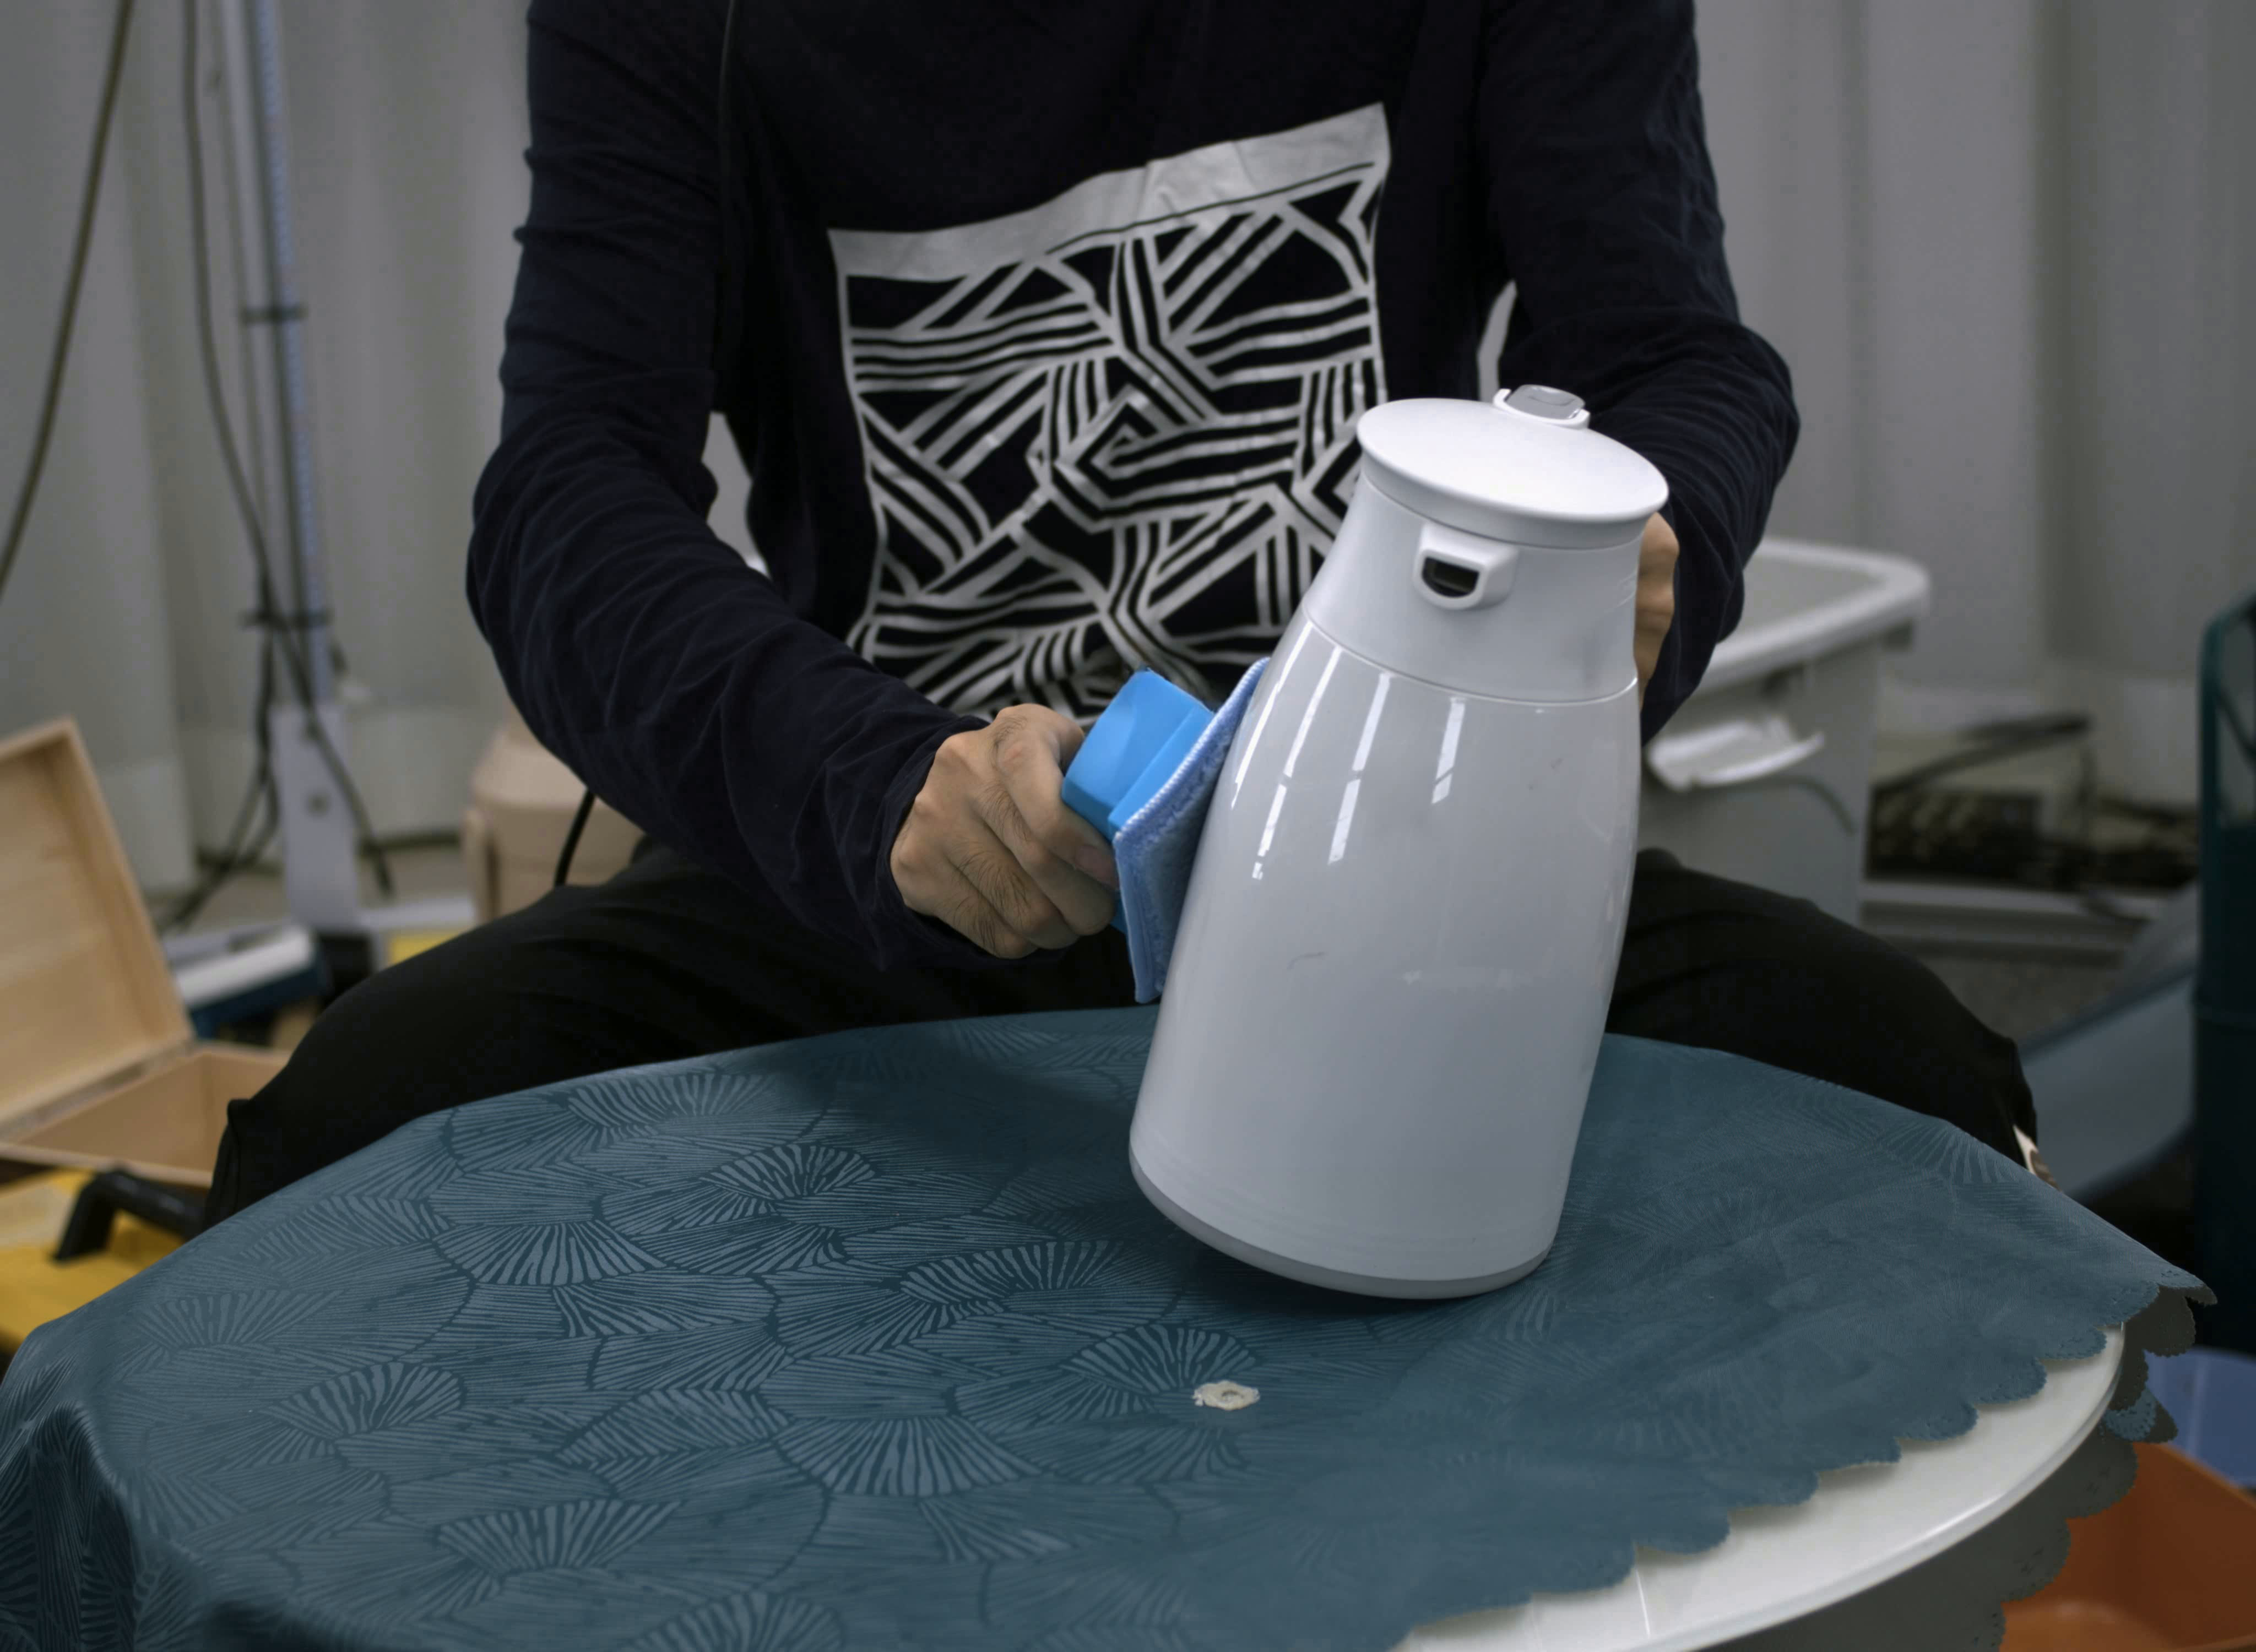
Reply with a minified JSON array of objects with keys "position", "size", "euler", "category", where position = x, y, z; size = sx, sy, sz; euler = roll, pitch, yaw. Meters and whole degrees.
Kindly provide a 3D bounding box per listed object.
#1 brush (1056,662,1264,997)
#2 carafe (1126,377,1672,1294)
[{"position":[0.006,-0.004,1.684],"size":[0.056,0.084,0.142],"euler":[38,-14,14],"category":"brush"},{"position":[0.091,-0.008,1.624],"size":[0.132,0.247,0.168],"euler":[15,20,9],"category":"carafe"}]
